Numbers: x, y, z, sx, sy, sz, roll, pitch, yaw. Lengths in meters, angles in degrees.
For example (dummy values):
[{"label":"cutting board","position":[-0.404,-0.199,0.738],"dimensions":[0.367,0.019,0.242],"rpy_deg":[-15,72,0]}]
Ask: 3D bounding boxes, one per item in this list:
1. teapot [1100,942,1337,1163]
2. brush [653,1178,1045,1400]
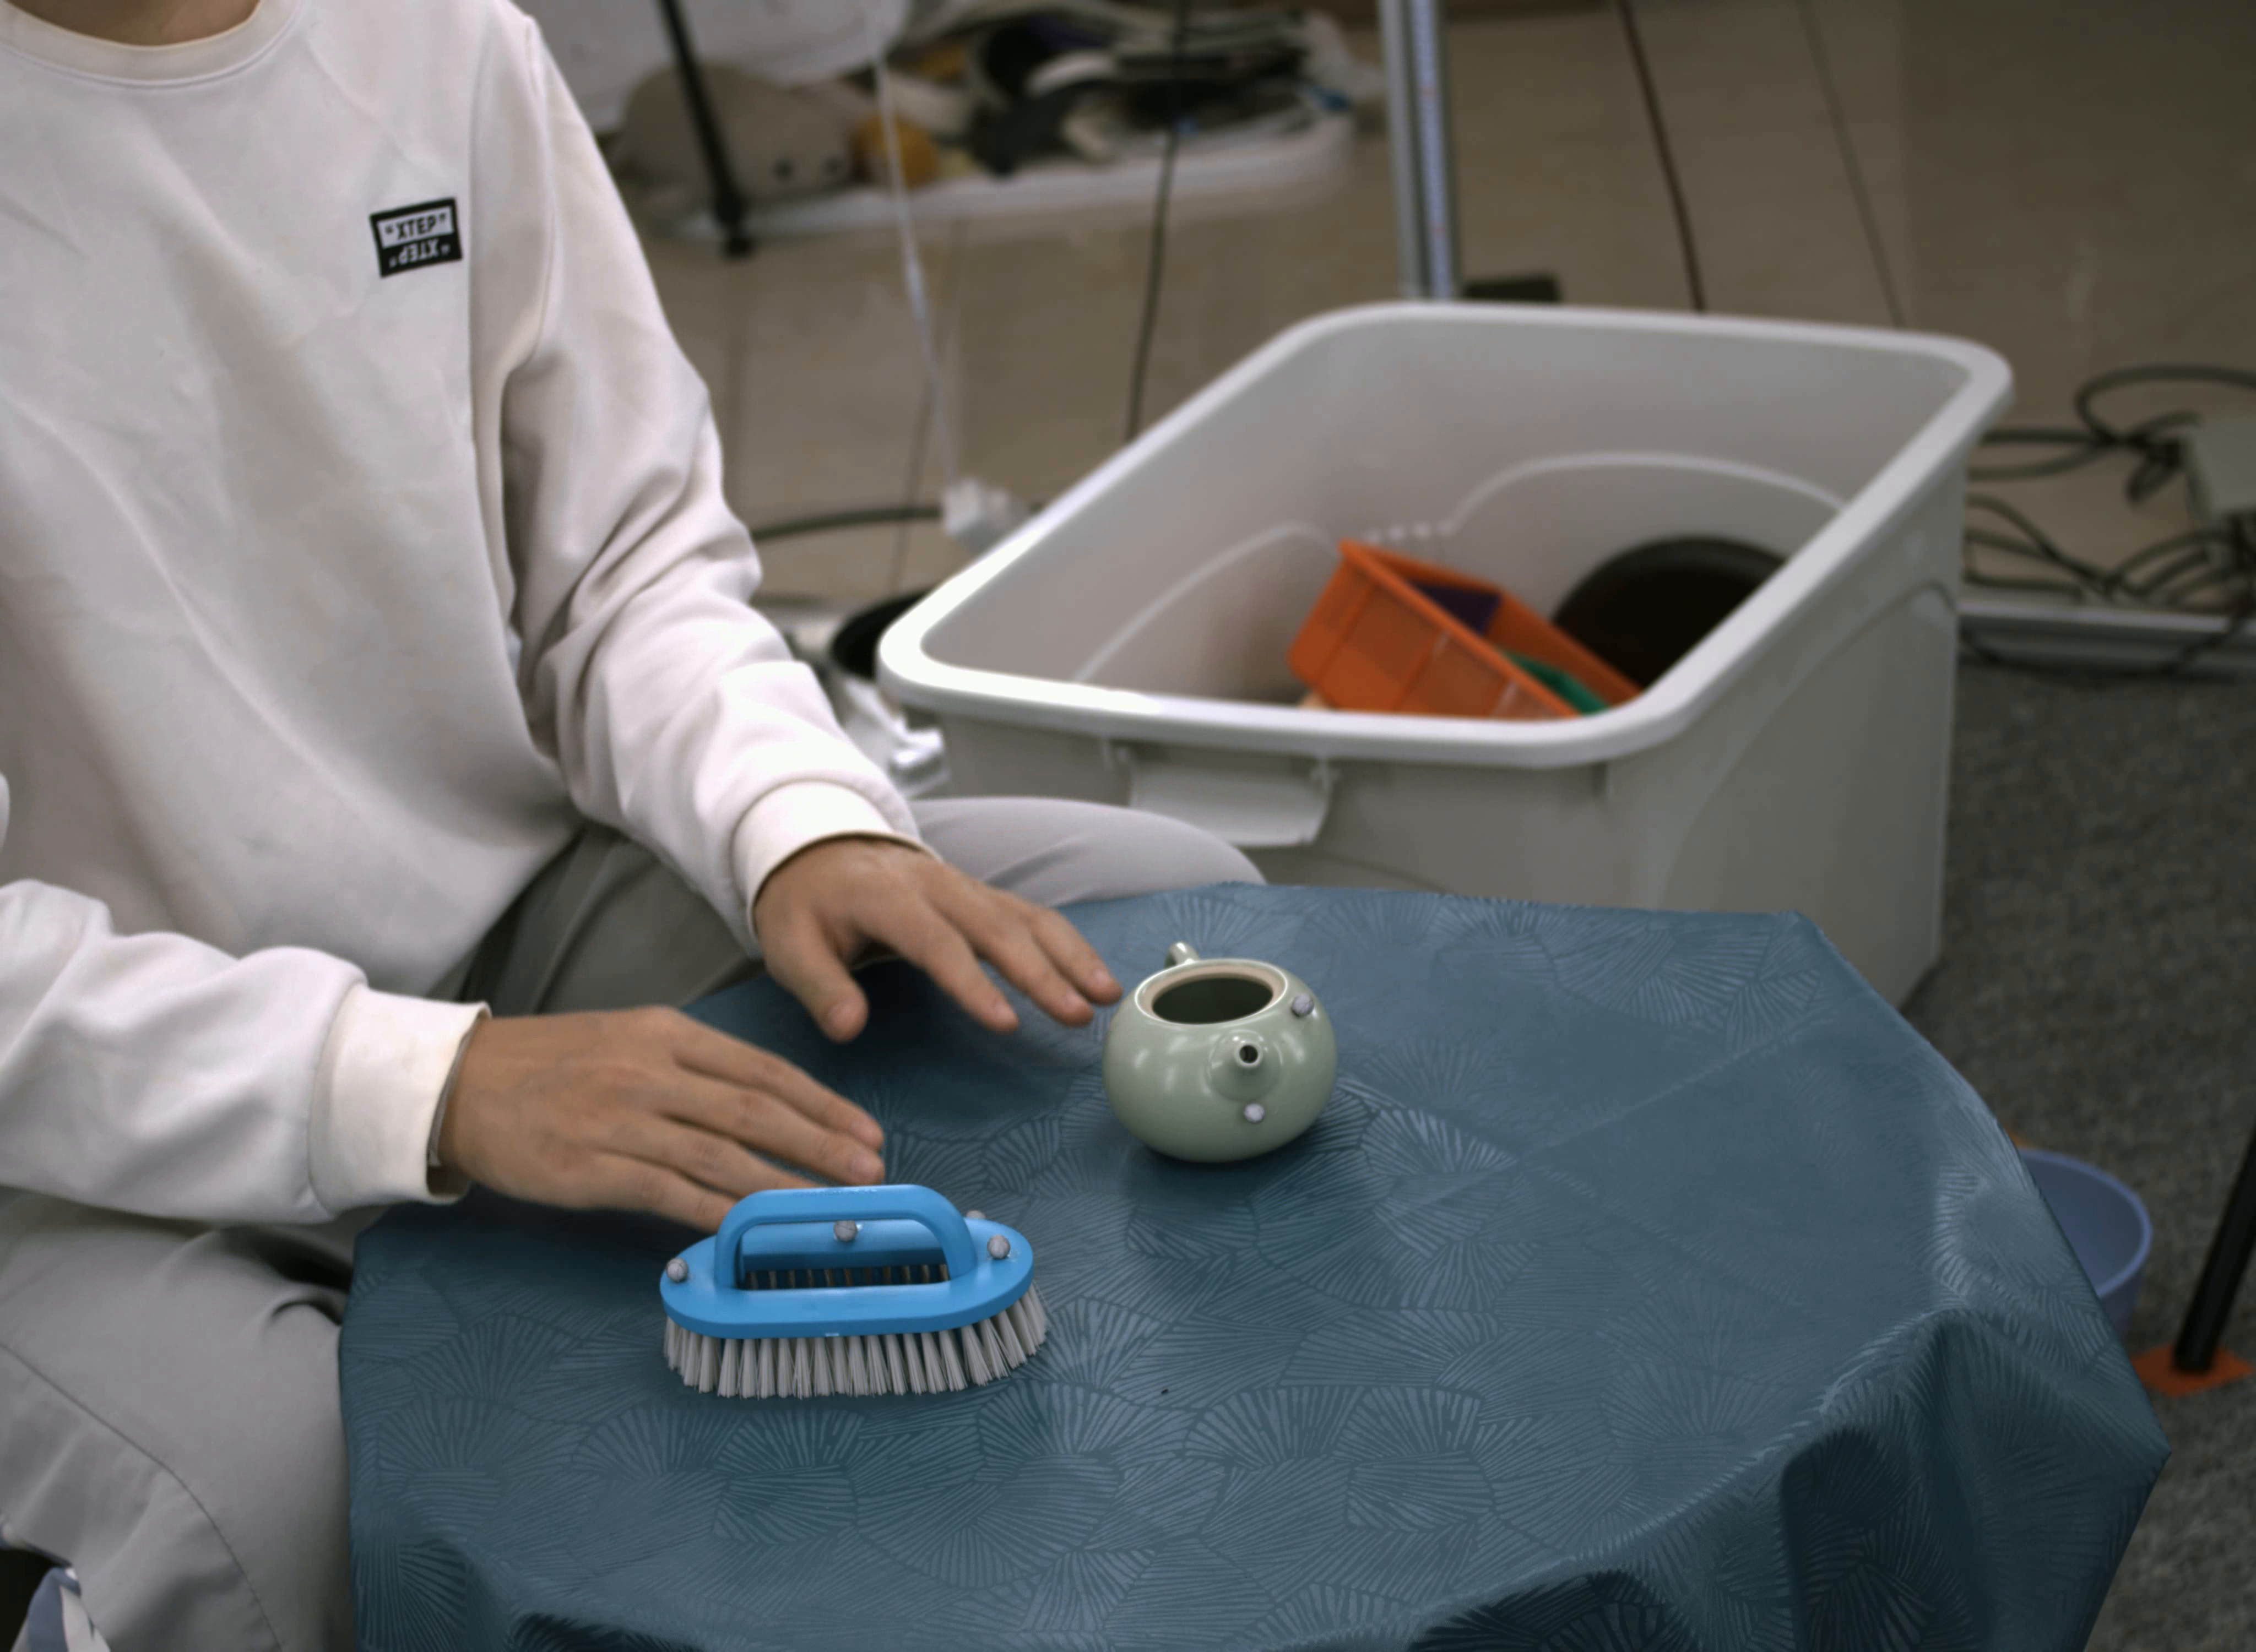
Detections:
[{"label":"teapot","position":[0.033,0.087,2.181],"dimensions":[0.091,0.062,0.127],"rpy_deg":[-12,23,-5]},{"label":"brush","position":[-0.104,0.159,2.050],"dimensions":[0.141,0.065,0.083],"rpy_deg":[-3,30,10]}]
